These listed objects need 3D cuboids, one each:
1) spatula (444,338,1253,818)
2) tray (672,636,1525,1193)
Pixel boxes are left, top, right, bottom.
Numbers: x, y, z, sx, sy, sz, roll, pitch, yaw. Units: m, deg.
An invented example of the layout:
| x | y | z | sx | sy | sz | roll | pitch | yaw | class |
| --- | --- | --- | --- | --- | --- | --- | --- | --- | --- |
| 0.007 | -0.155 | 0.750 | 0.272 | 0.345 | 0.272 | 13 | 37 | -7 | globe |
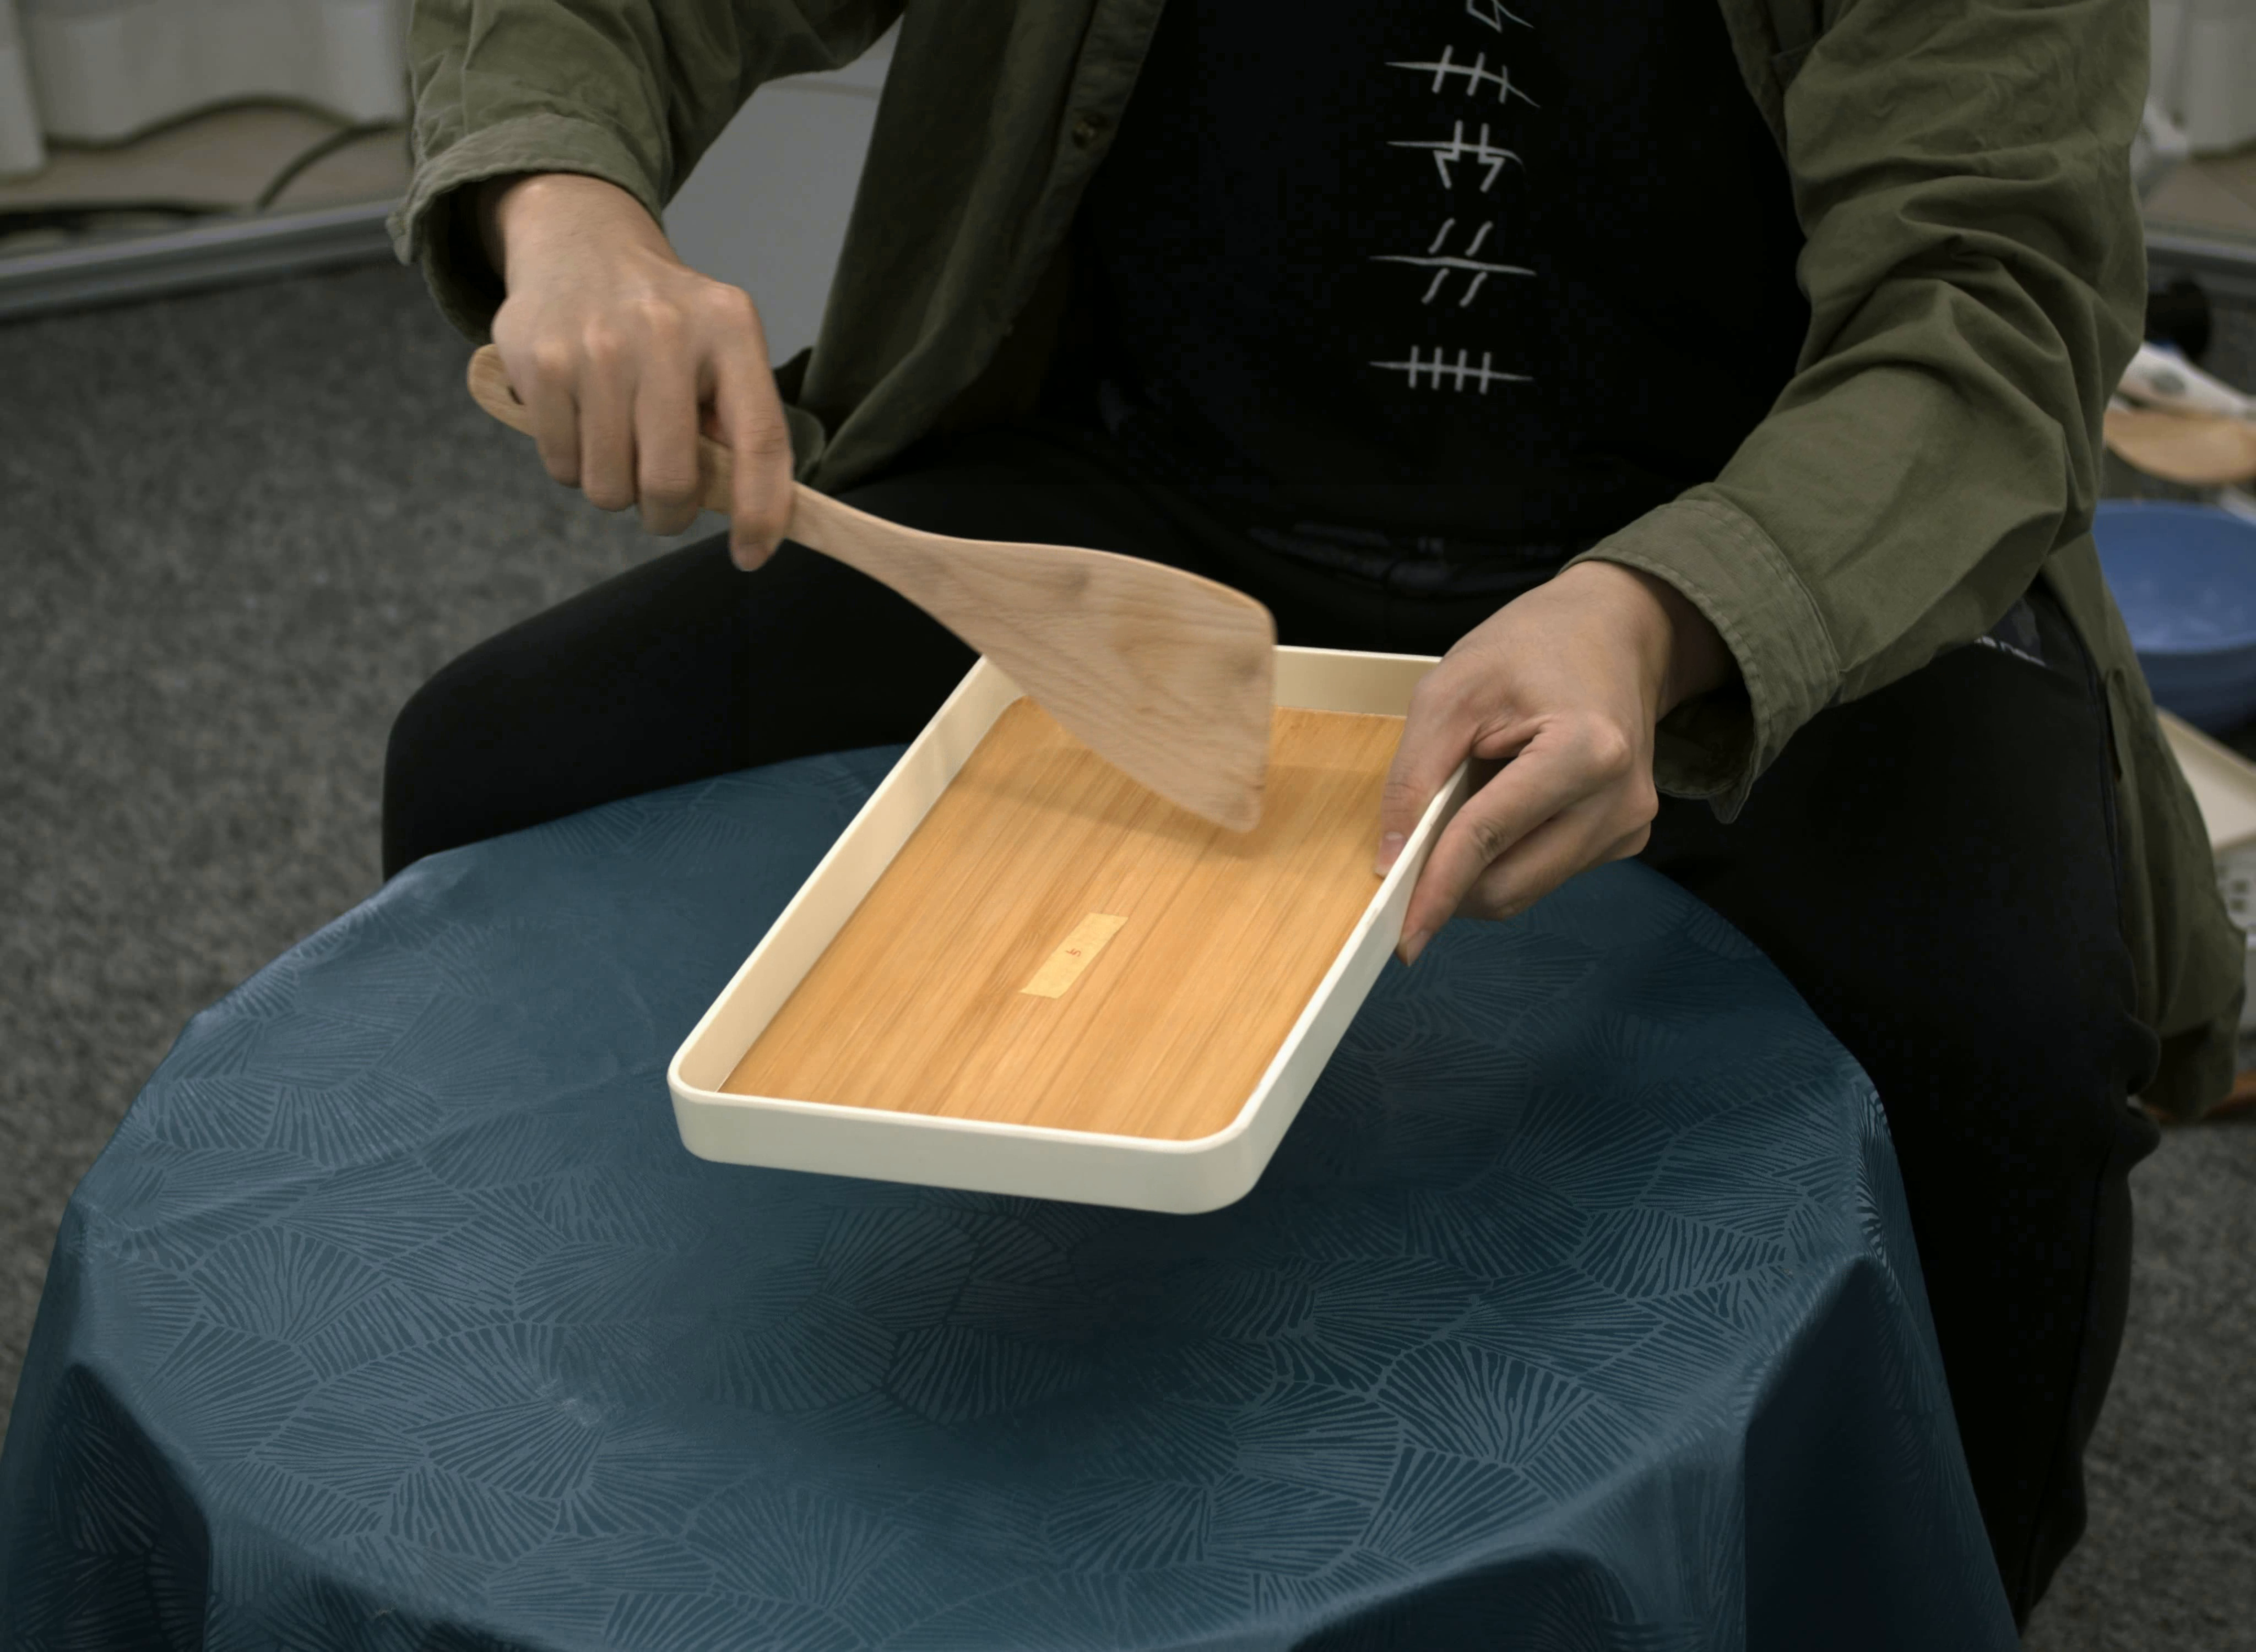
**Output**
| x | y | z | sx | sy | sz | roll | pitch | yaw | class |
| --- | --- | --- | --- | --- | --- | --- | --- | --- | --- |
| -0.095 | -0.097 | 1.868 | 0.327 | 0.079 | 0.017 | 24 | 25 | 21 | spatula |
| -0.003 | 0.020 | 1.801 | 0.190 | 0.027 | 0.306 | 5 | 31 | 21 | tray |
